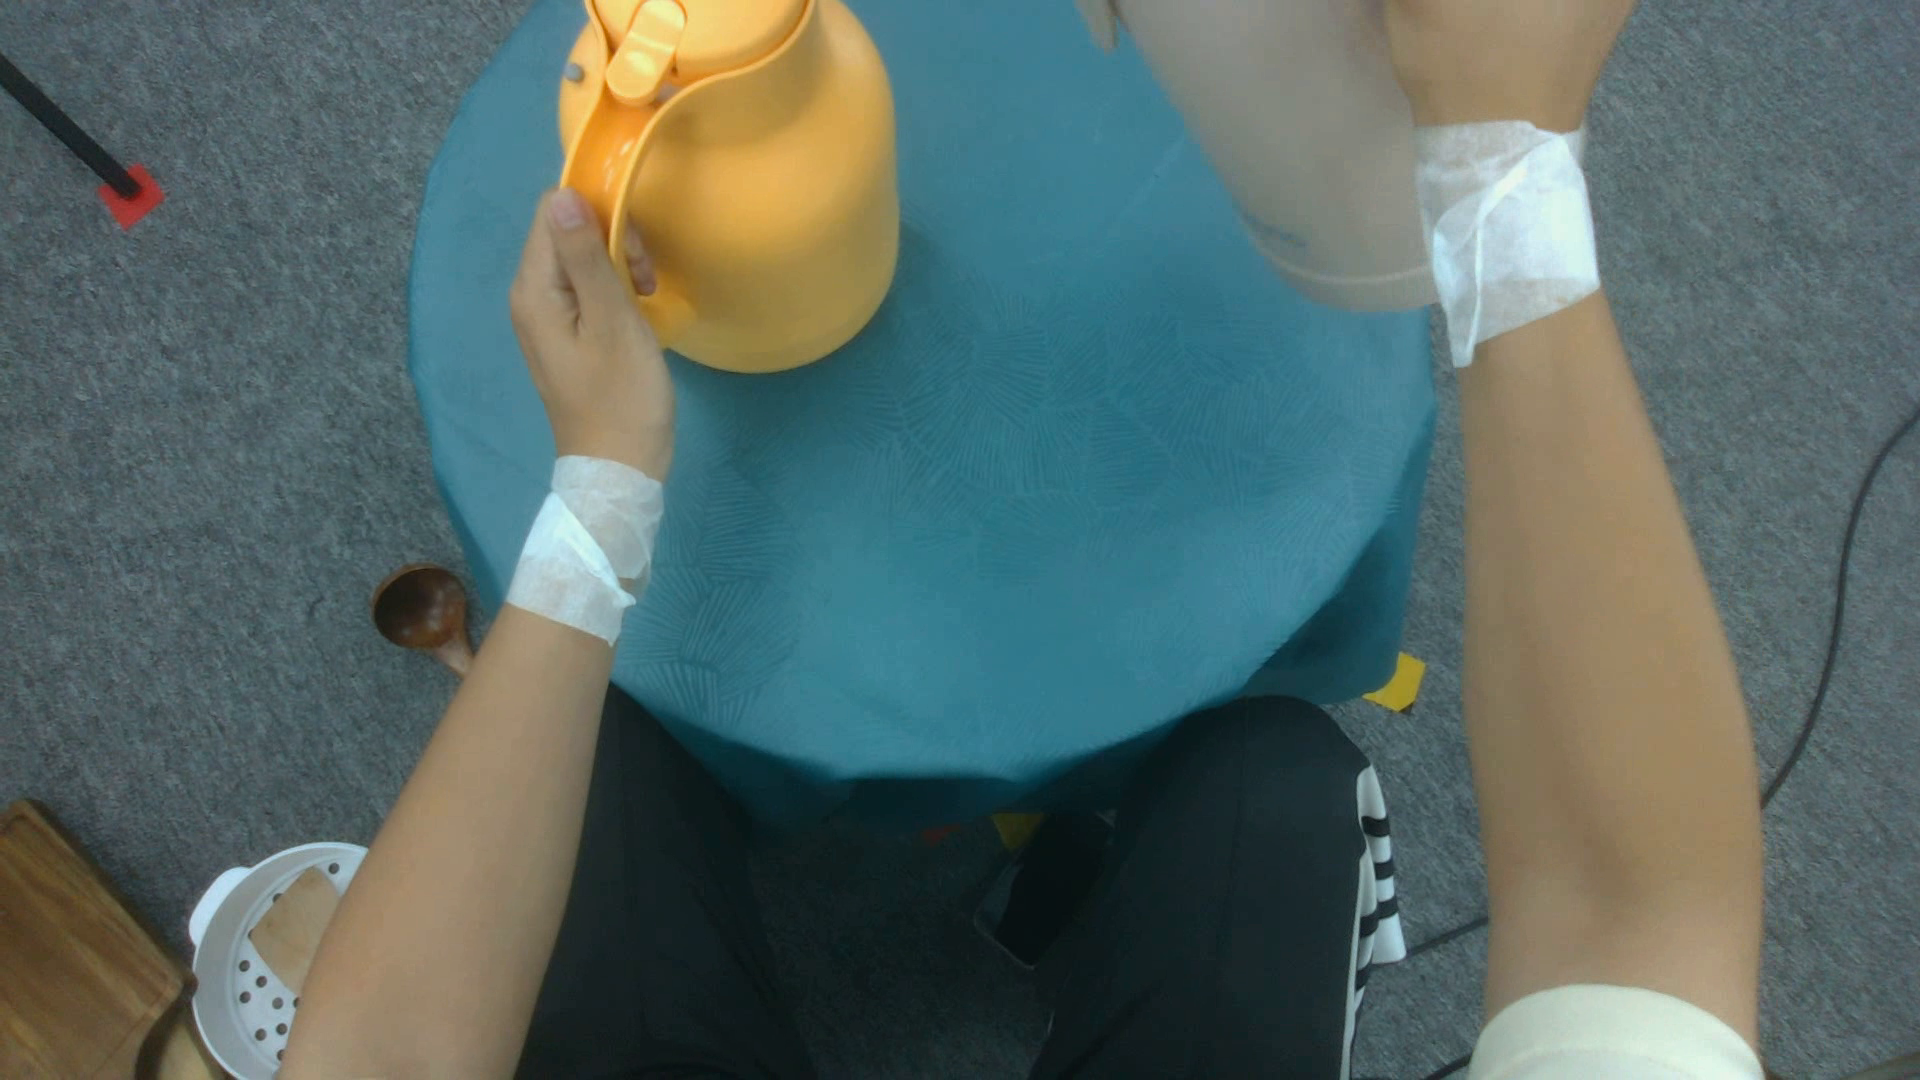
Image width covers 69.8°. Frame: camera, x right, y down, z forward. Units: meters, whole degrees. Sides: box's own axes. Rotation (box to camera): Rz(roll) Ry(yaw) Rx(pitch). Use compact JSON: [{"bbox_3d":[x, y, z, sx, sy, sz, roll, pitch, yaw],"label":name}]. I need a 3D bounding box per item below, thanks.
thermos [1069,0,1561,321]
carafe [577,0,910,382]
[{"bbox_3d":[0.129,-0.234,0.523,0.175,0.406,0.207,-48,55,5],"label":"thermos"},{"bbox_3d":[-0.117,-0.181,0.694,0.163,0.259,0.203,24,73,8],"label":"carafe"}]
